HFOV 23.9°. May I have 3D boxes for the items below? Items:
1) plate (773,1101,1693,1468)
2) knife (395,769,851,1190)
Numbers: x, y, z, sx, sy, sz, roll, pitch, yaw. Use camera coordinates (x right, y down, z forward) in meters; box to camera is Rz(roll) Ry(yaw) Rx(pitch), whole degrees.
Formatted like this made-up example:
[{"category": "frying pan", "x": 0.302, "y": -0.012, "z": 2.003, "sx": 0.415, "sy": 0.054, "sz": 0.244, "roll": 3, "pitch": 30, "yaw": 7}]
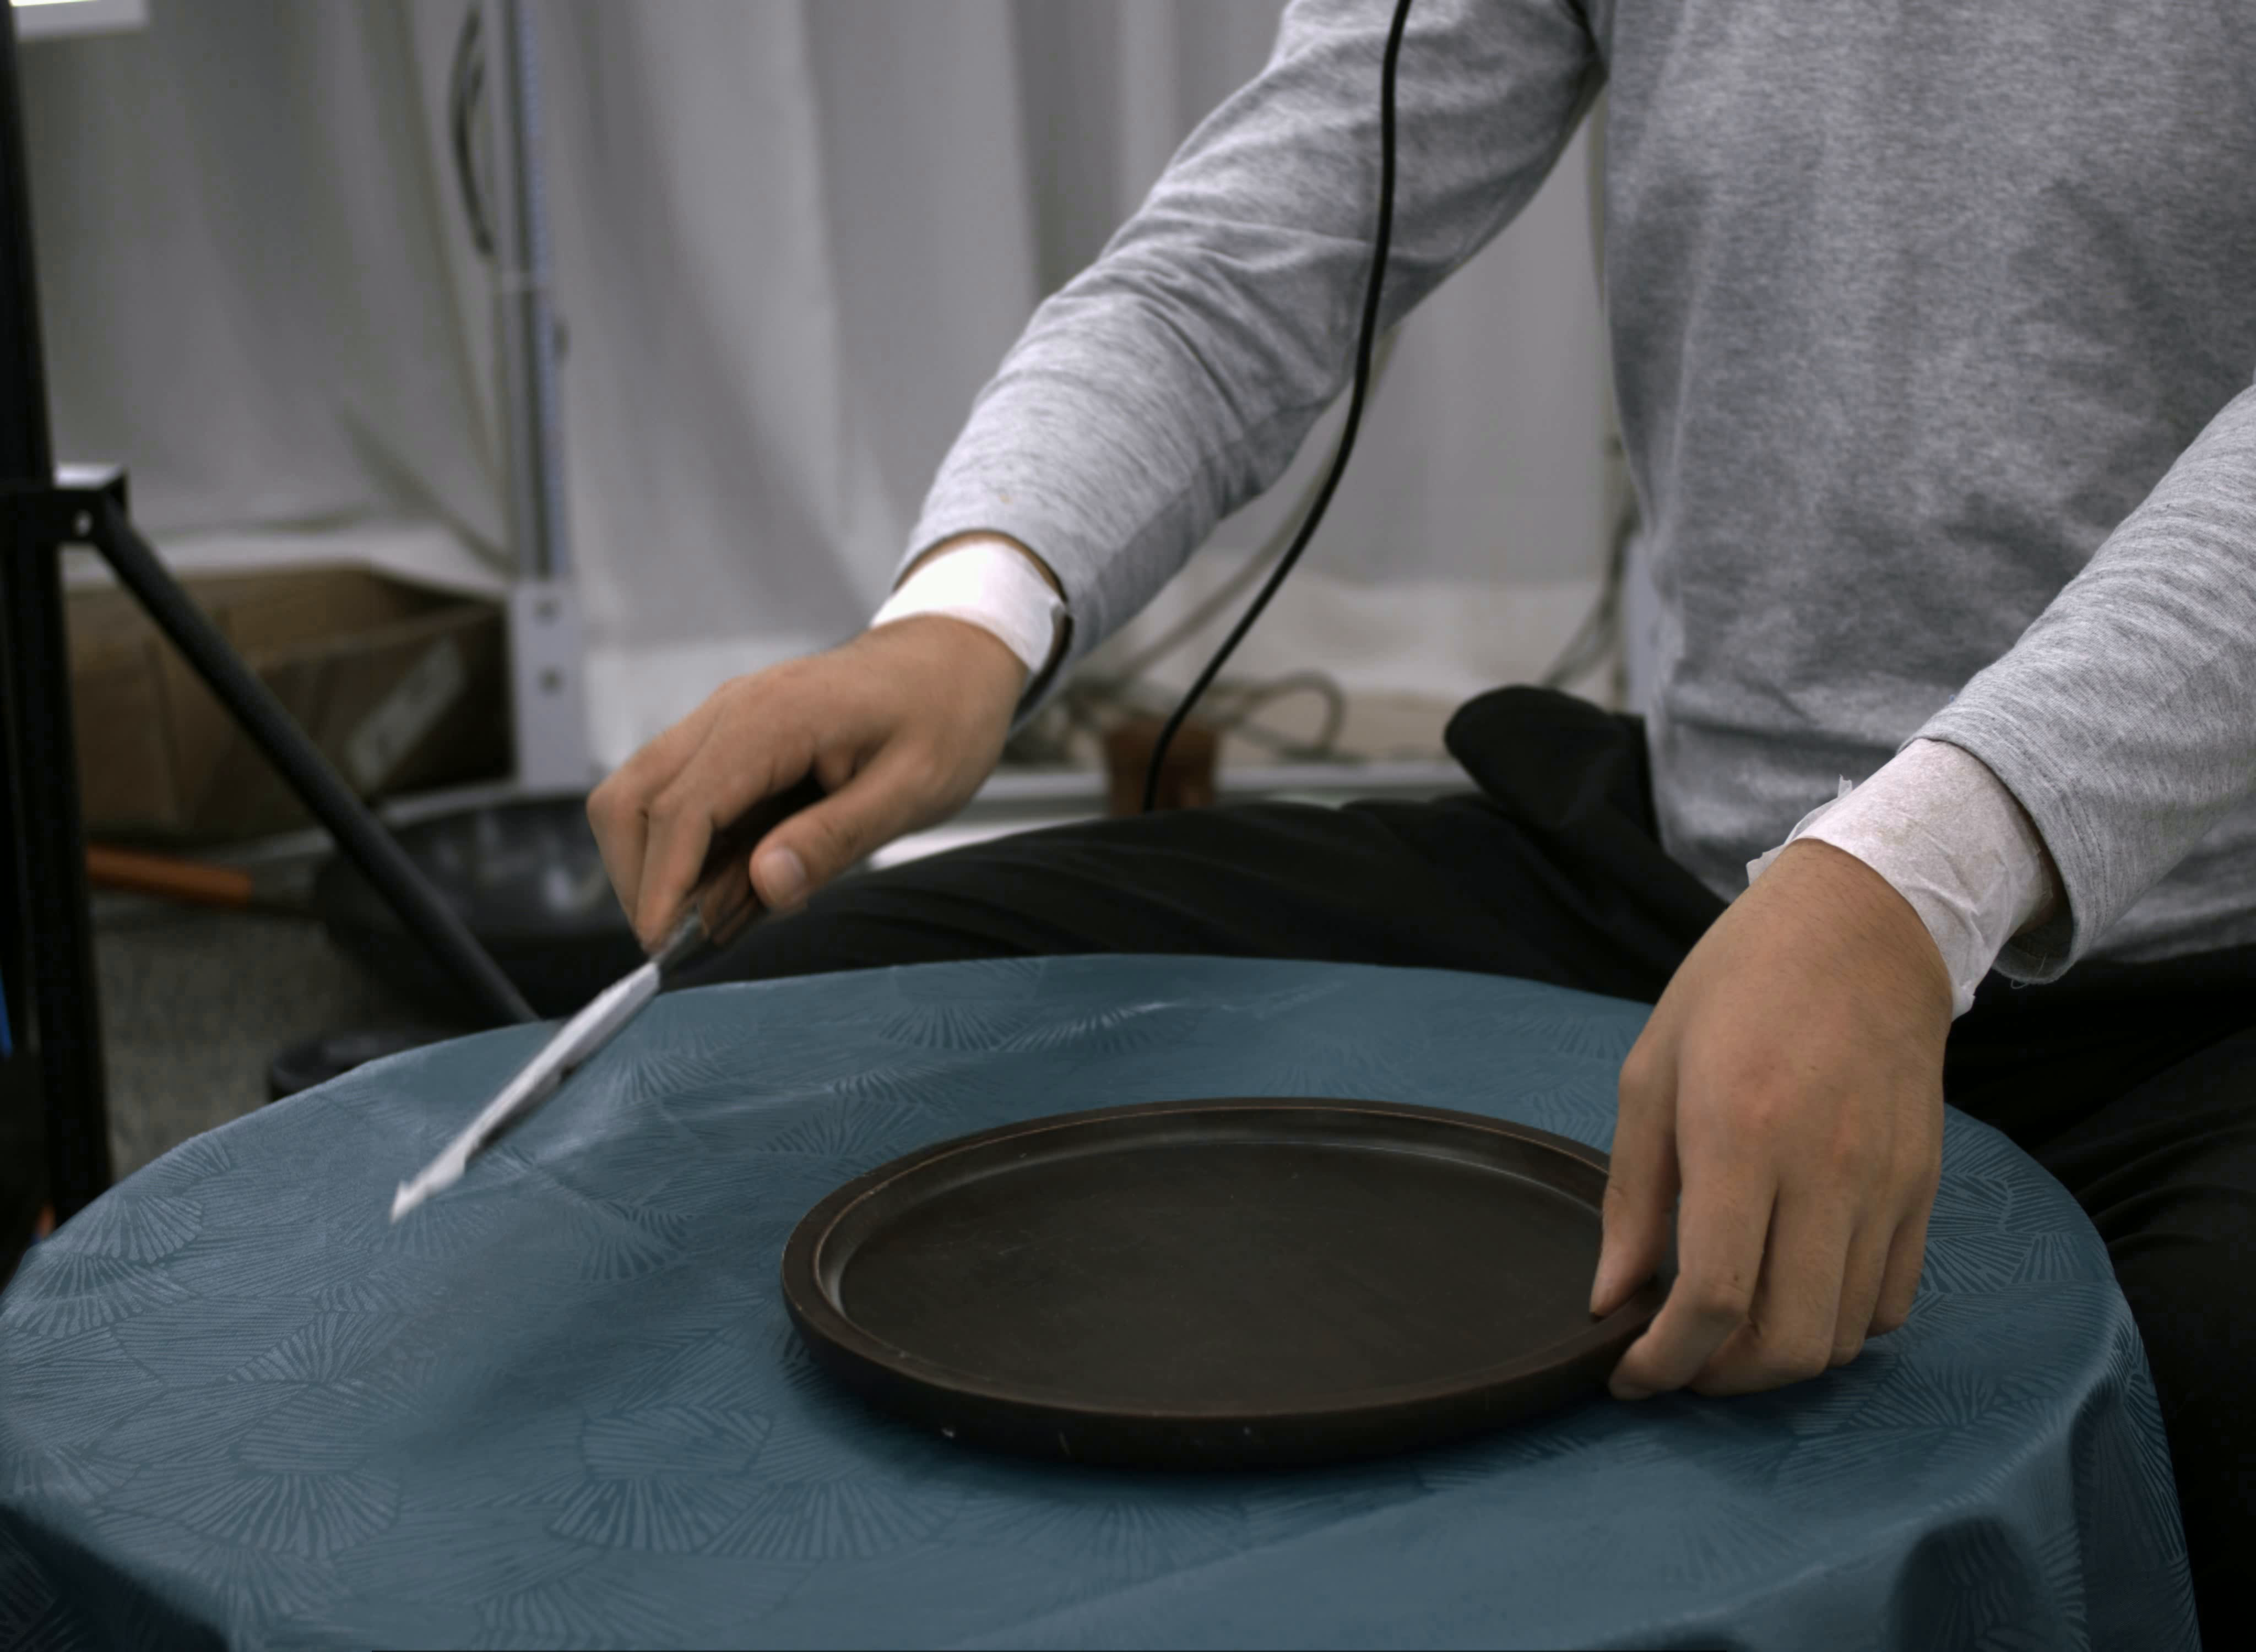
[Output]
[{"category": "plate", "x": 0.029, "y": 0.123, "z": 1.458, "sx": 0.253, "sy": 0.029, "sz": 0.256, "roll": -3, "pitch": 14, "yaw": -1}, {"category": "knife", "x": -0.141, "y": 0.042, "z": 1.526, "sx": 0.051, "sy": 0.020, "sz": 0.286, "roll": -32, "pitch": 7, "yaw": 29}]
